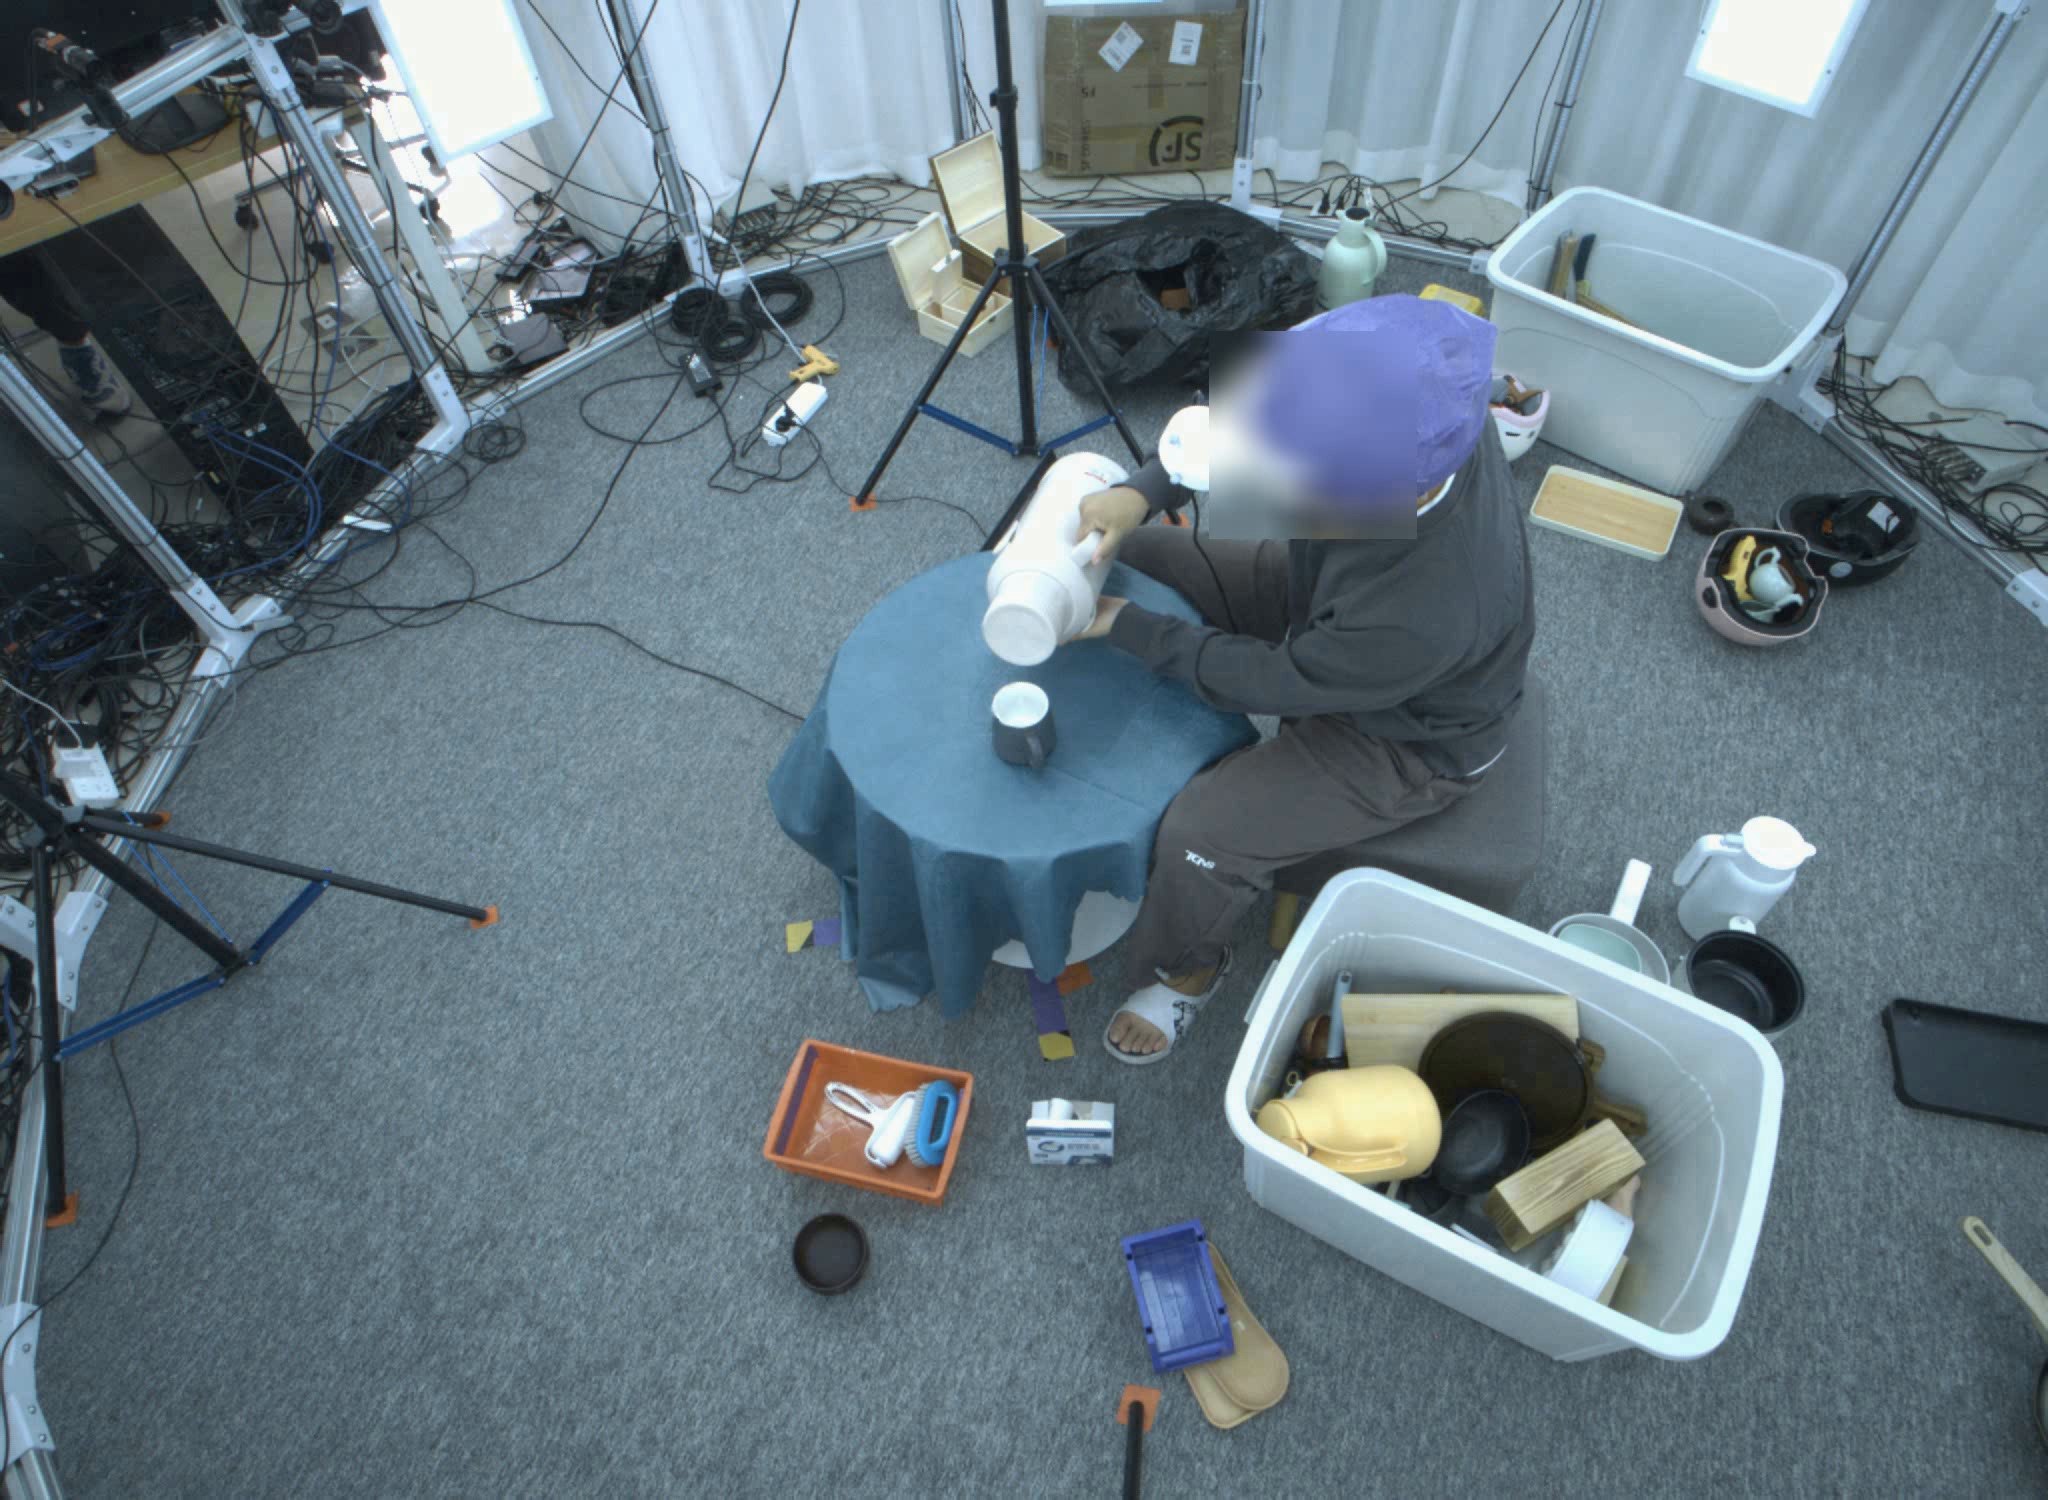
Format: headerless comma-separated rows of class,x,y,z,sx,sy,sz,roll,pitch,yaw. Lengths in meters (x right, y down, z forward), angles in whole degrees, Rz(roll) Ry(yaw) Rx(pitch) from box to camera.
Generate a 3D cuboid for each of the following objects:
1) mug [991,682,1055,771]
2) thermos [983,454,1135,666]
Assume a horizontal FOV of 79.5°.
mug,0.001,-0.027,1.751,0.094,0.091,0.121,-16,55,-9
thermos,0.056,-0.285,1.795,0.177,0.205,0.405,41,40,-15
